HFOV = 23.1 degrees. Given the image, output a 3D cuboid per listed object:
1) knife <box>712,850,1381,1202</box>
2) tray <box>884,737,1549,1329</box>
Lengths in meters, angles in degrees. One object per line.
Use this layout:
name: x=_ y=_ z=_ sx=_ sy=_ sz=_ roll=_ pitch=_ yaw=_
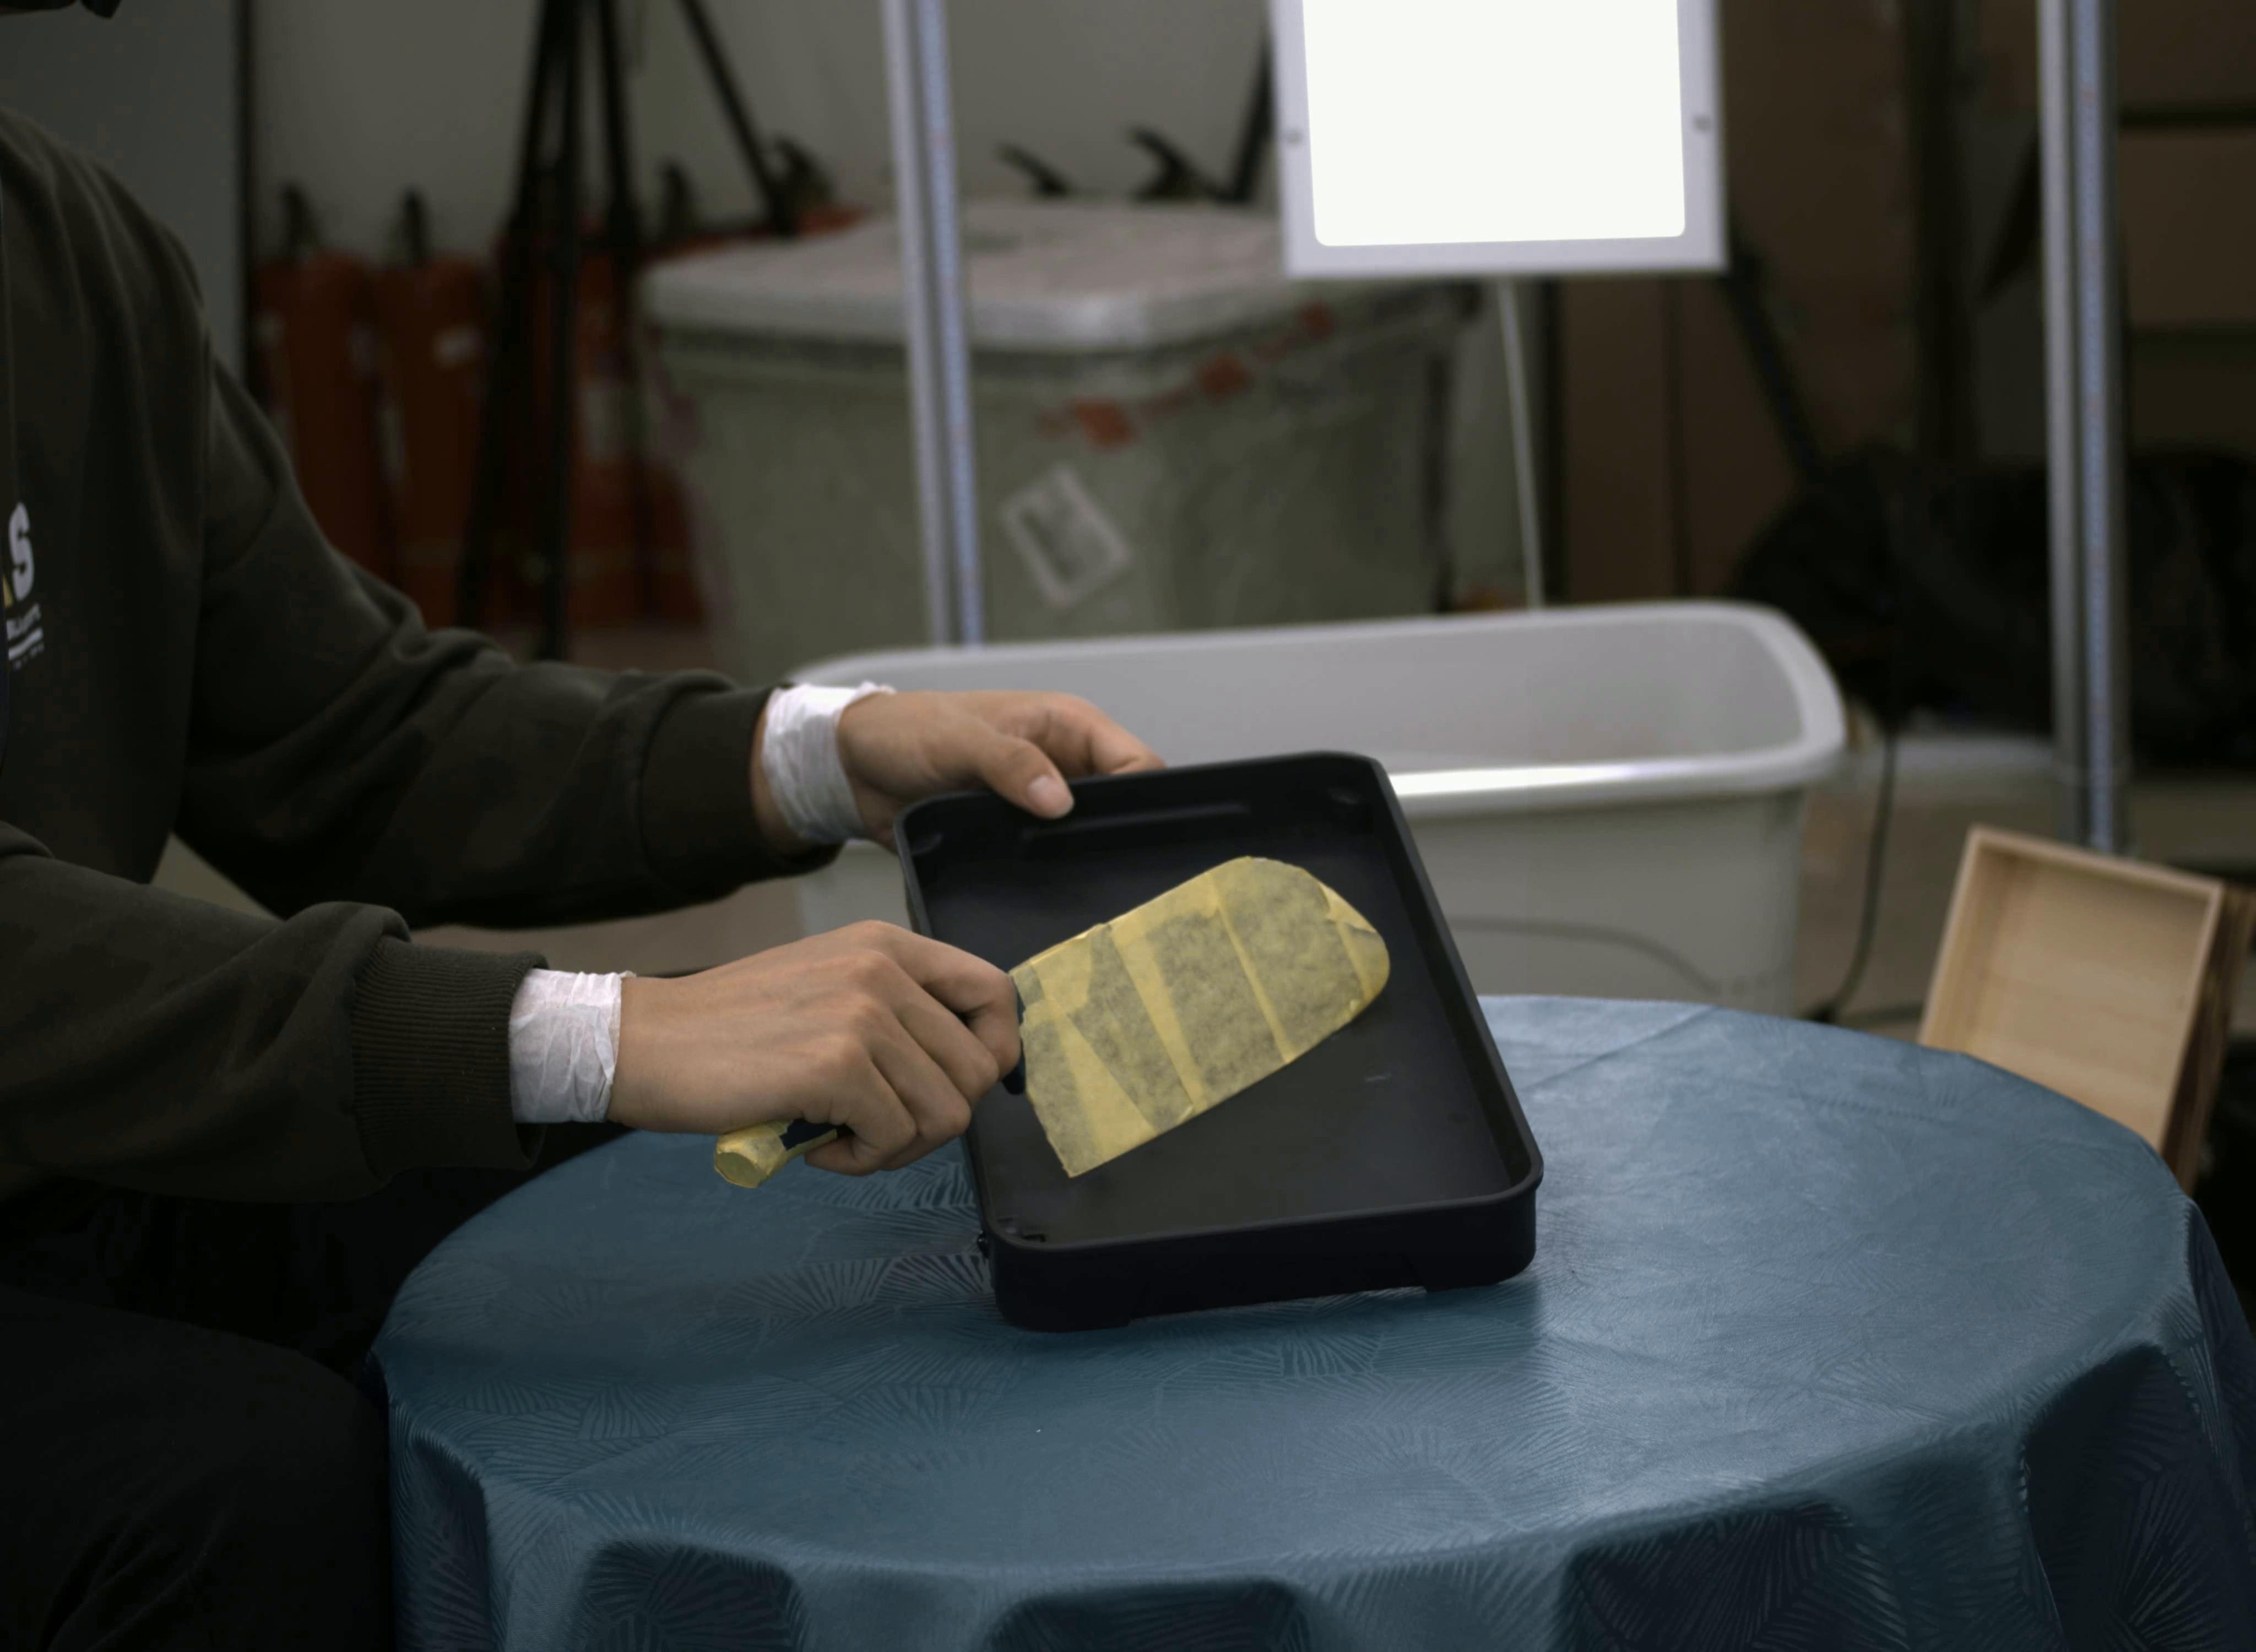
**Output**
knife: x=-0.019 y=0.076 z=1.846 sx=0.282 sy=0.081 sz=0.028 roll=-22 pitch=-3 yaw=-34
tray: x=0.025 y=0.065 z=1.901 sx=0.183 sy=0.037 sz=0.319 roll=-9 pitch=29 yaw=-6
